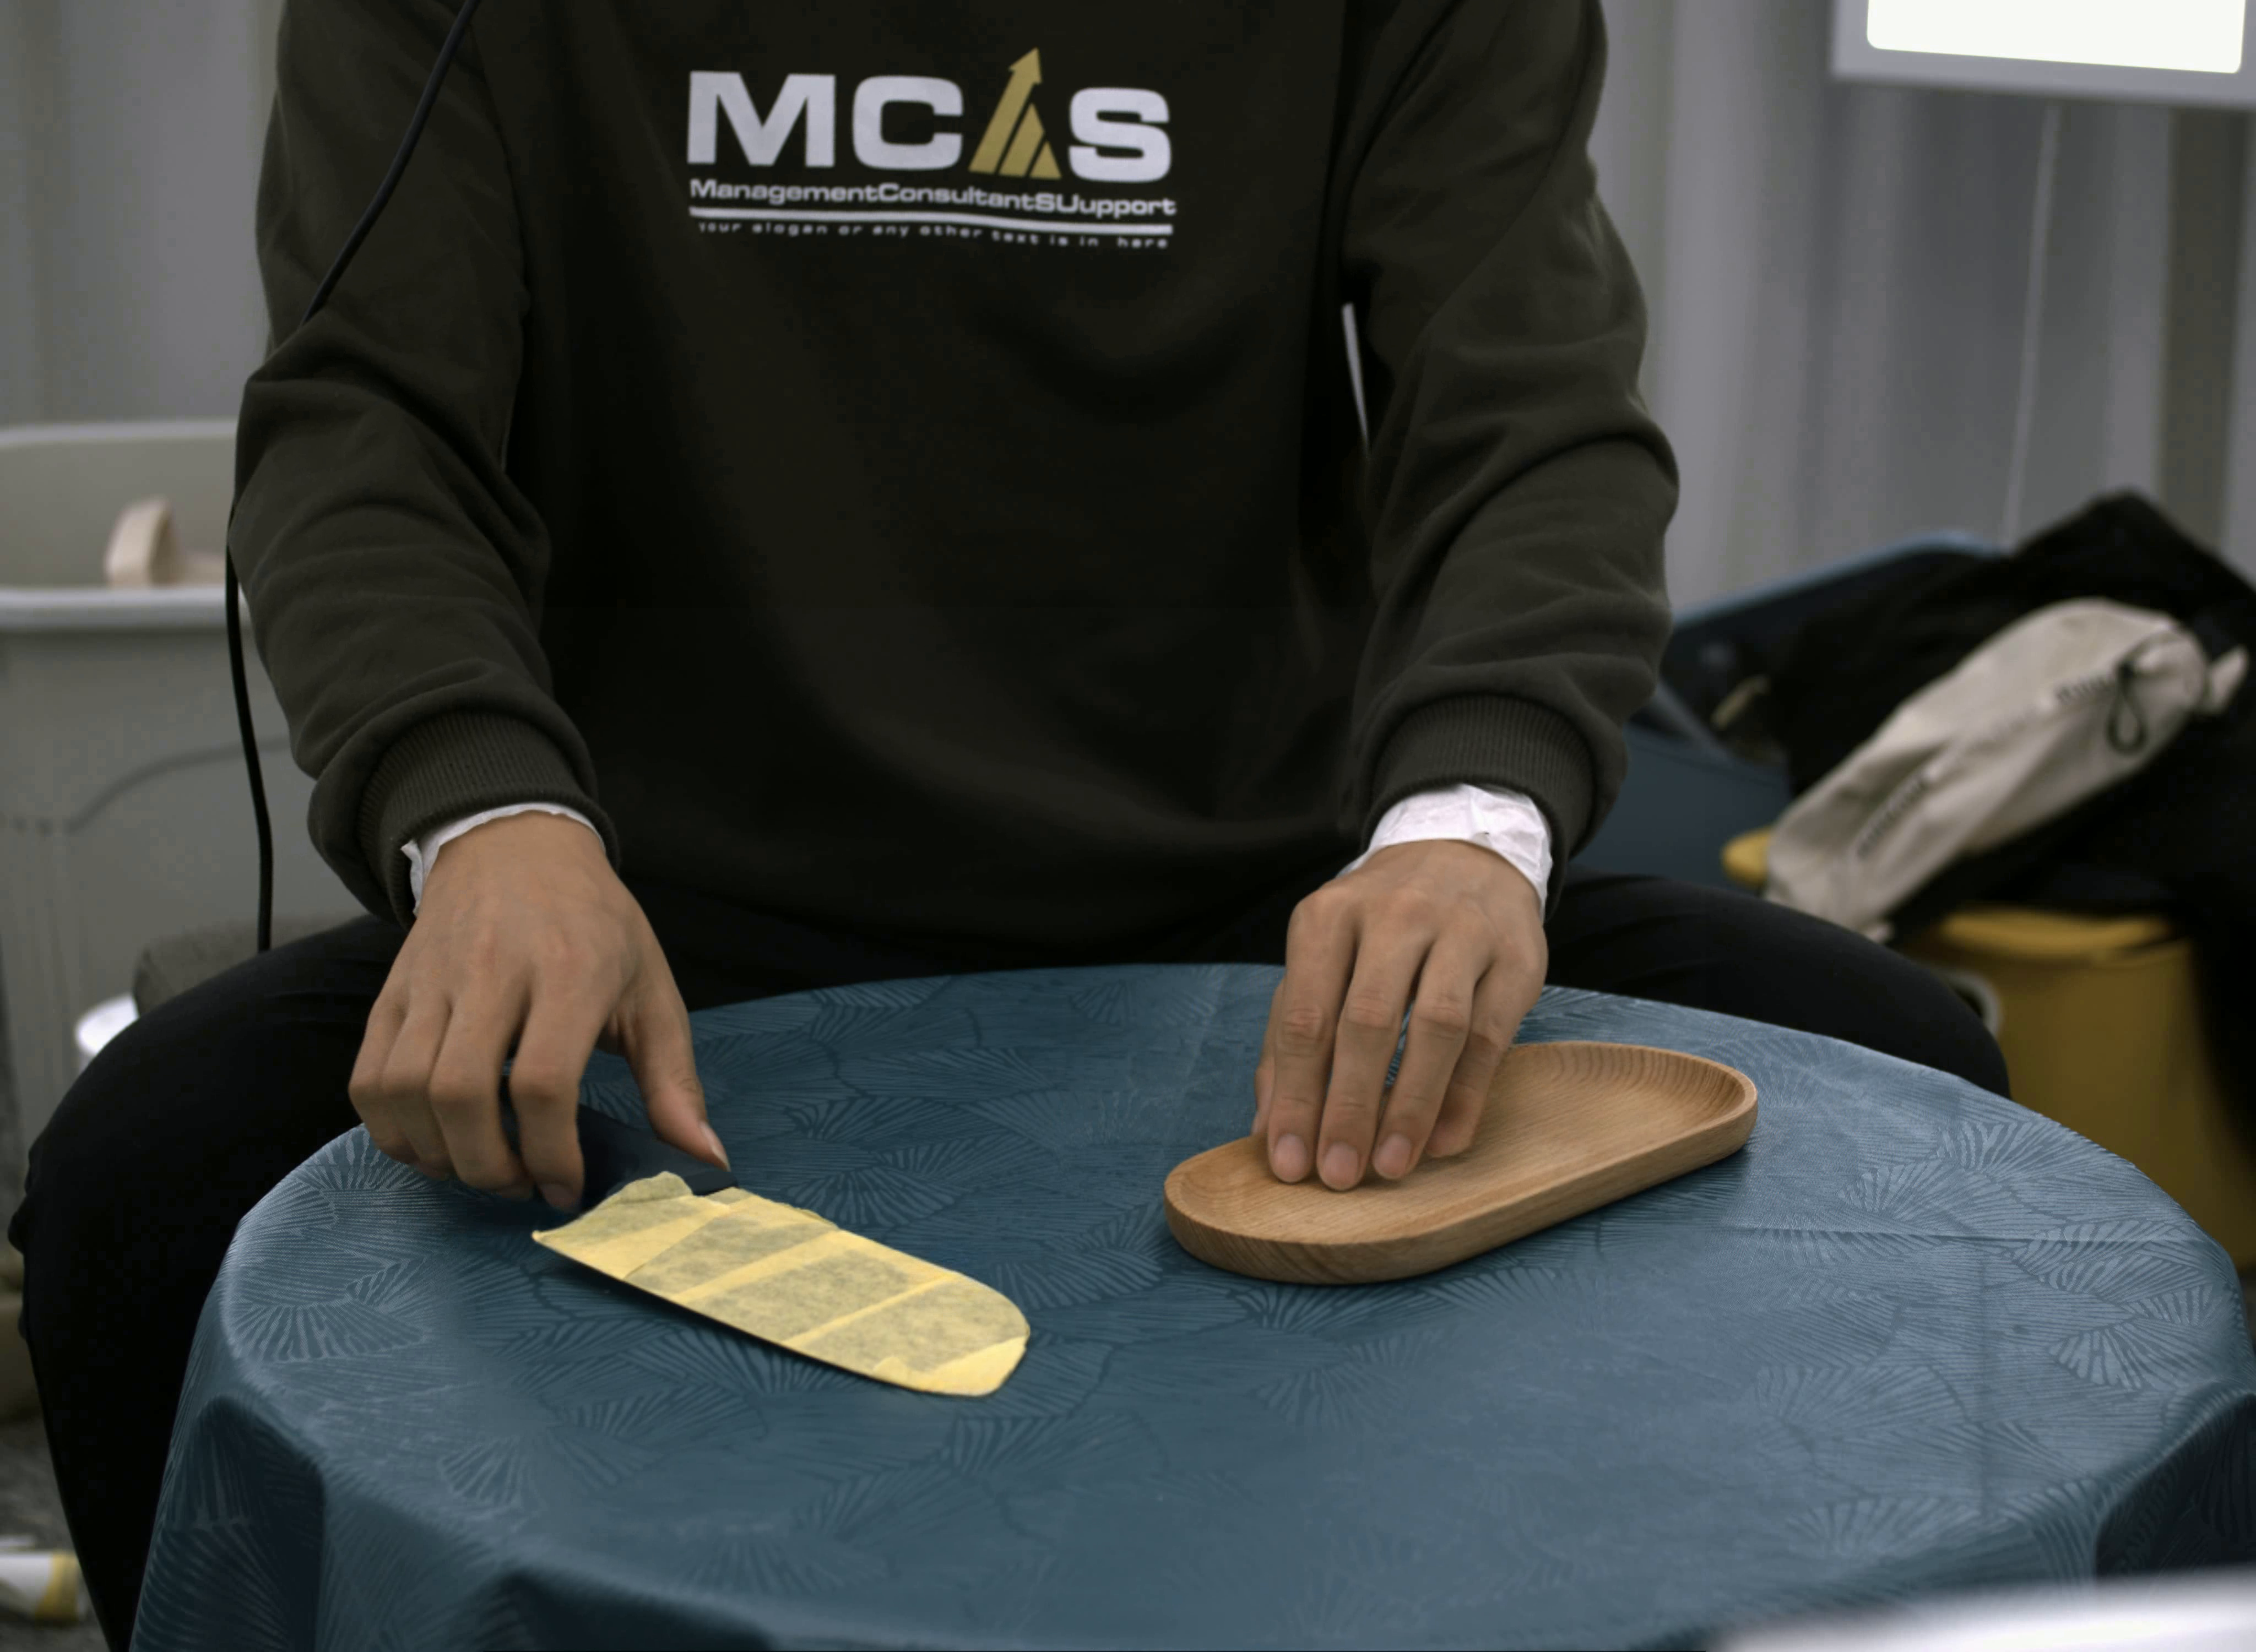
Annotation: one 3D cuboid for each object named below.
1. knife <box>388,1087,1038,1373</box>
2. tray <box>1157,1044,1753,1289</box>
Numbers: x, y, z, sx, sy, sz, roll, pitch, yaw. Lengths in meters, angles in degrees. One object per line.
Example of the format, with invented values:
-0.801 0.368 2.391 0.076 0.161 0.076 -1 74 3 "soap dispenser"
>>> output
-0.134 0.121 1.560 0.285 0.027 0.081 16 20 42 "knife"
0.104 0.104 1.630 0.100 0.020 0.232 12 21 41 "tray"
